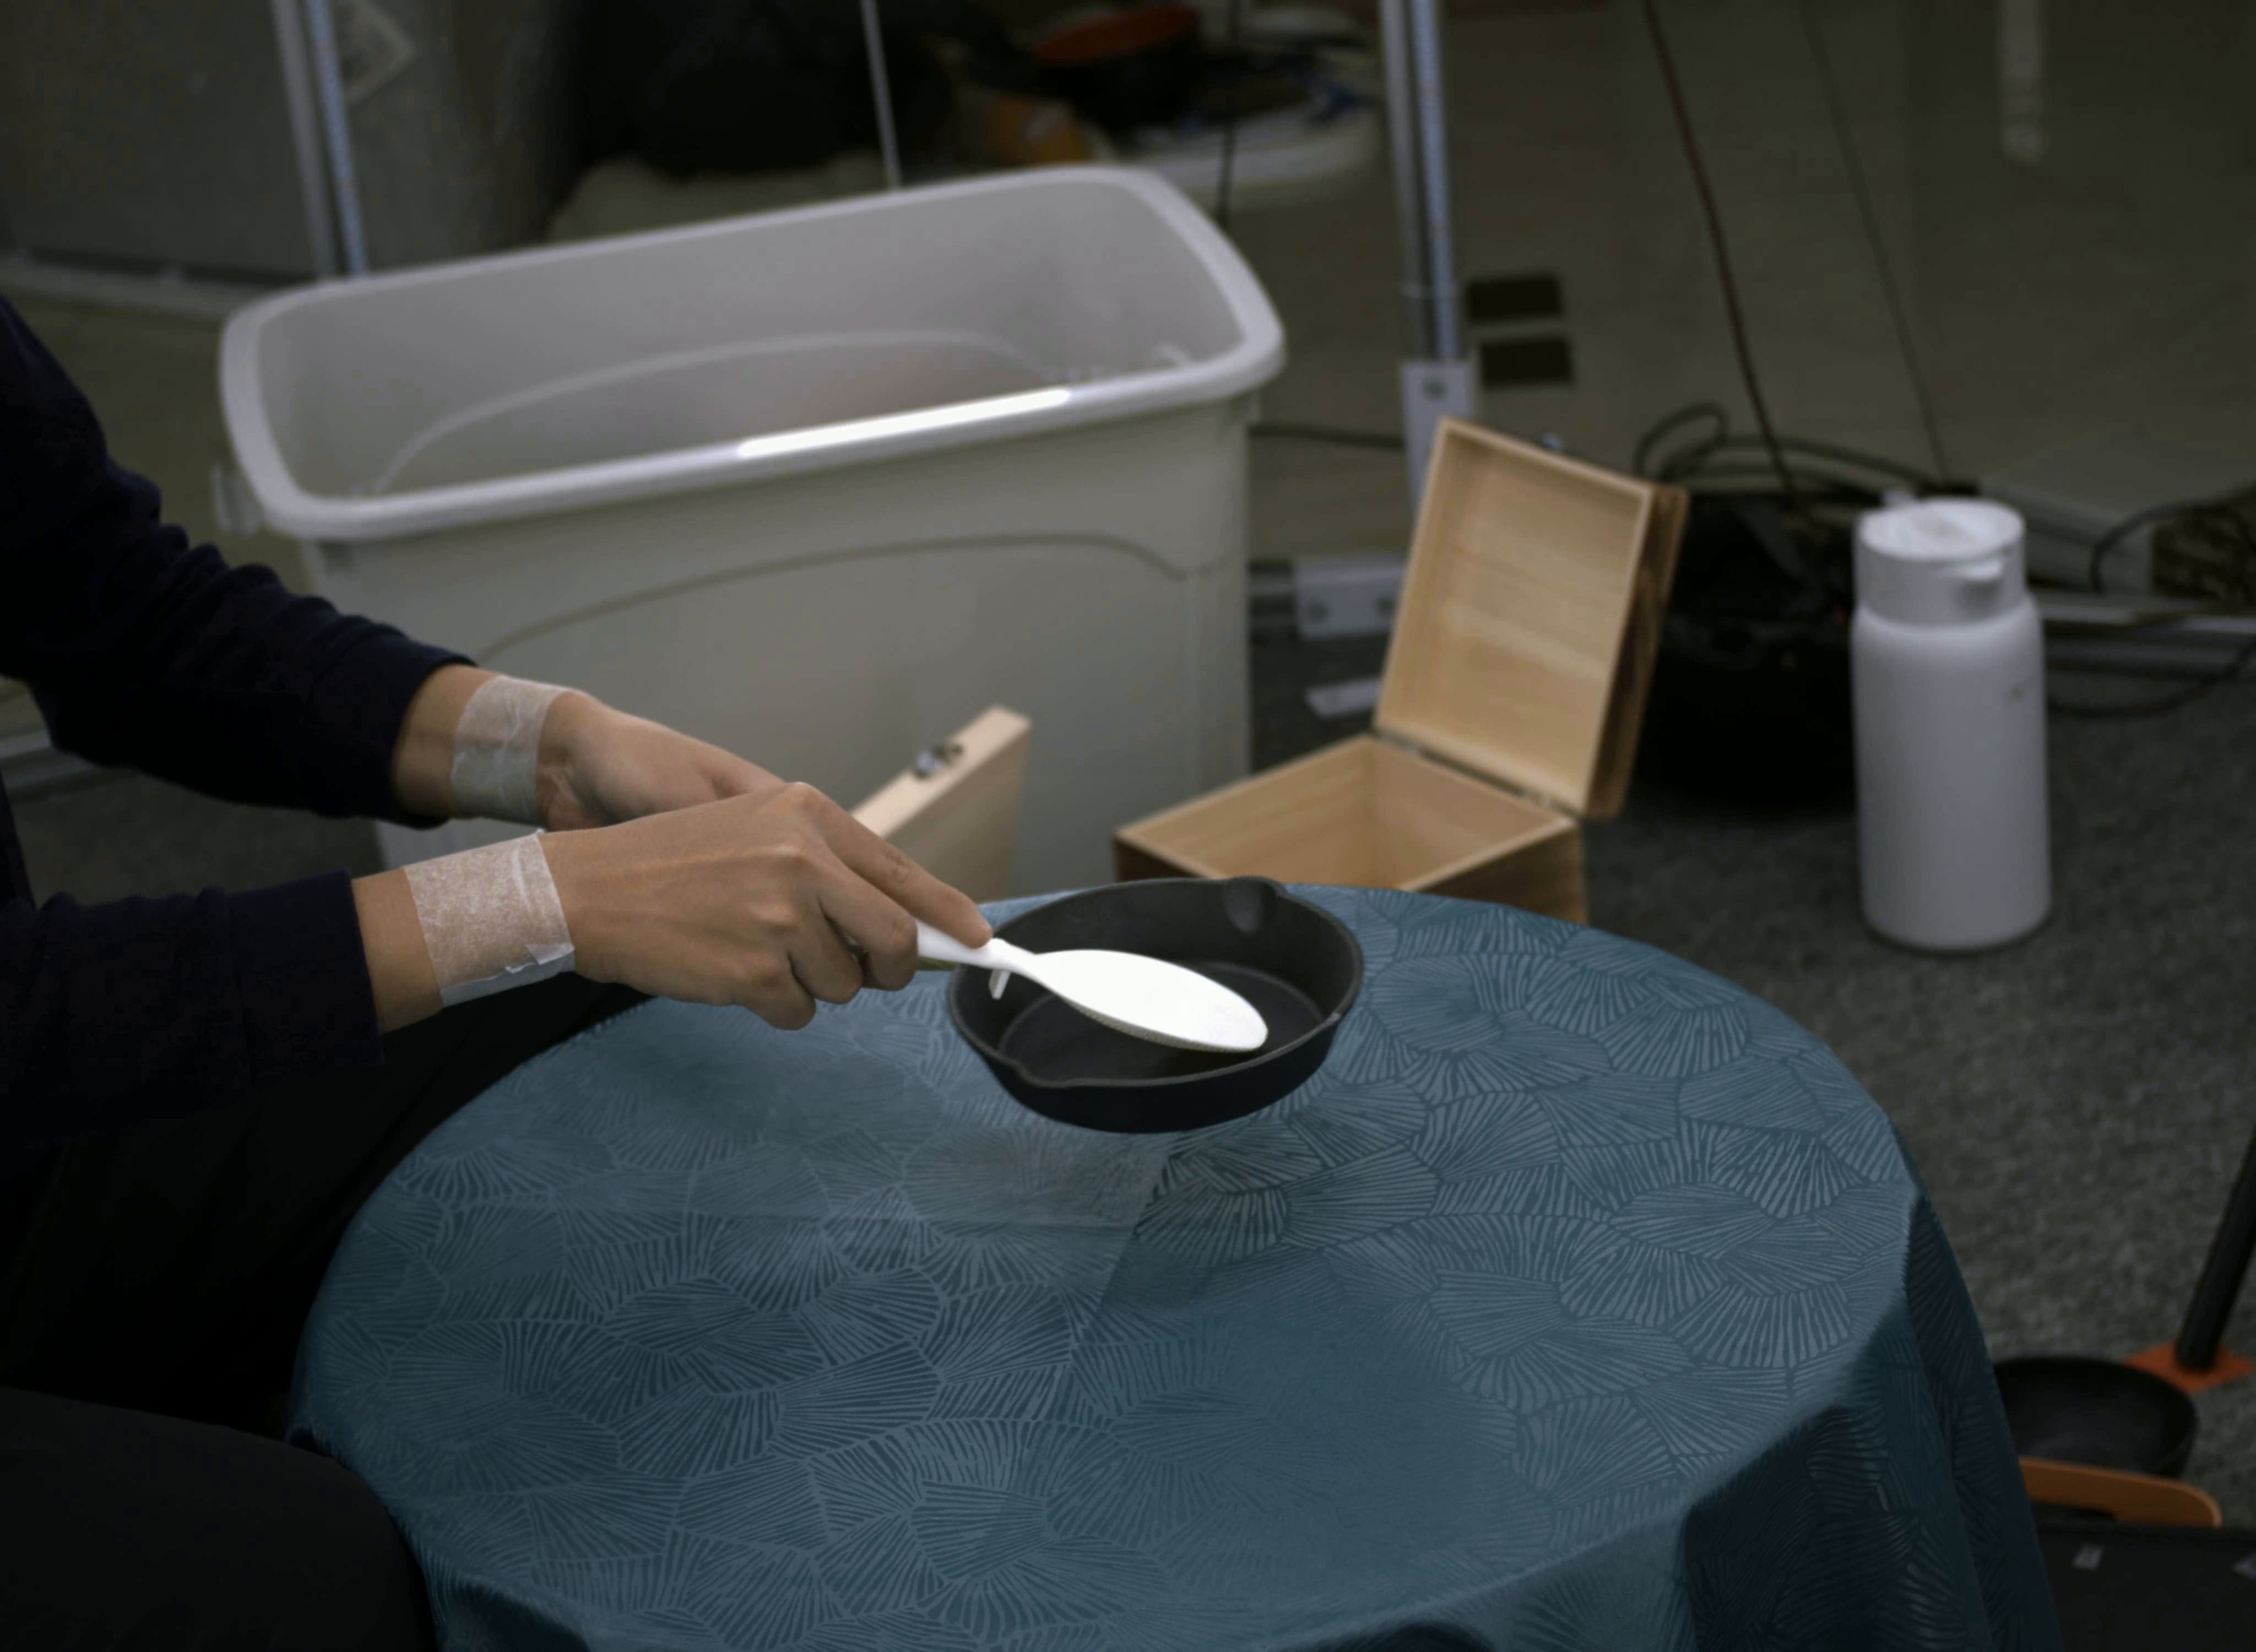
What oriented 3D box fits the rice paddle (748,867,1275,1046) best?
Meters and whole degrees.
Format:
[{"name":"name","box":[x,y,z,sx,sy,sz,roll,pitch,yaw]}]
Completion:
[{"name":"rice paddle","box":[-0.039,0.050,2.101,0.205,0.030,0.068,13,23,-18]}]

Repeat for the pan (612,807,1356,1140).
[{"name":"pan","box":[-0.063,0.048,2.161,0.322,0.050,0.167,14,35,30]}]
